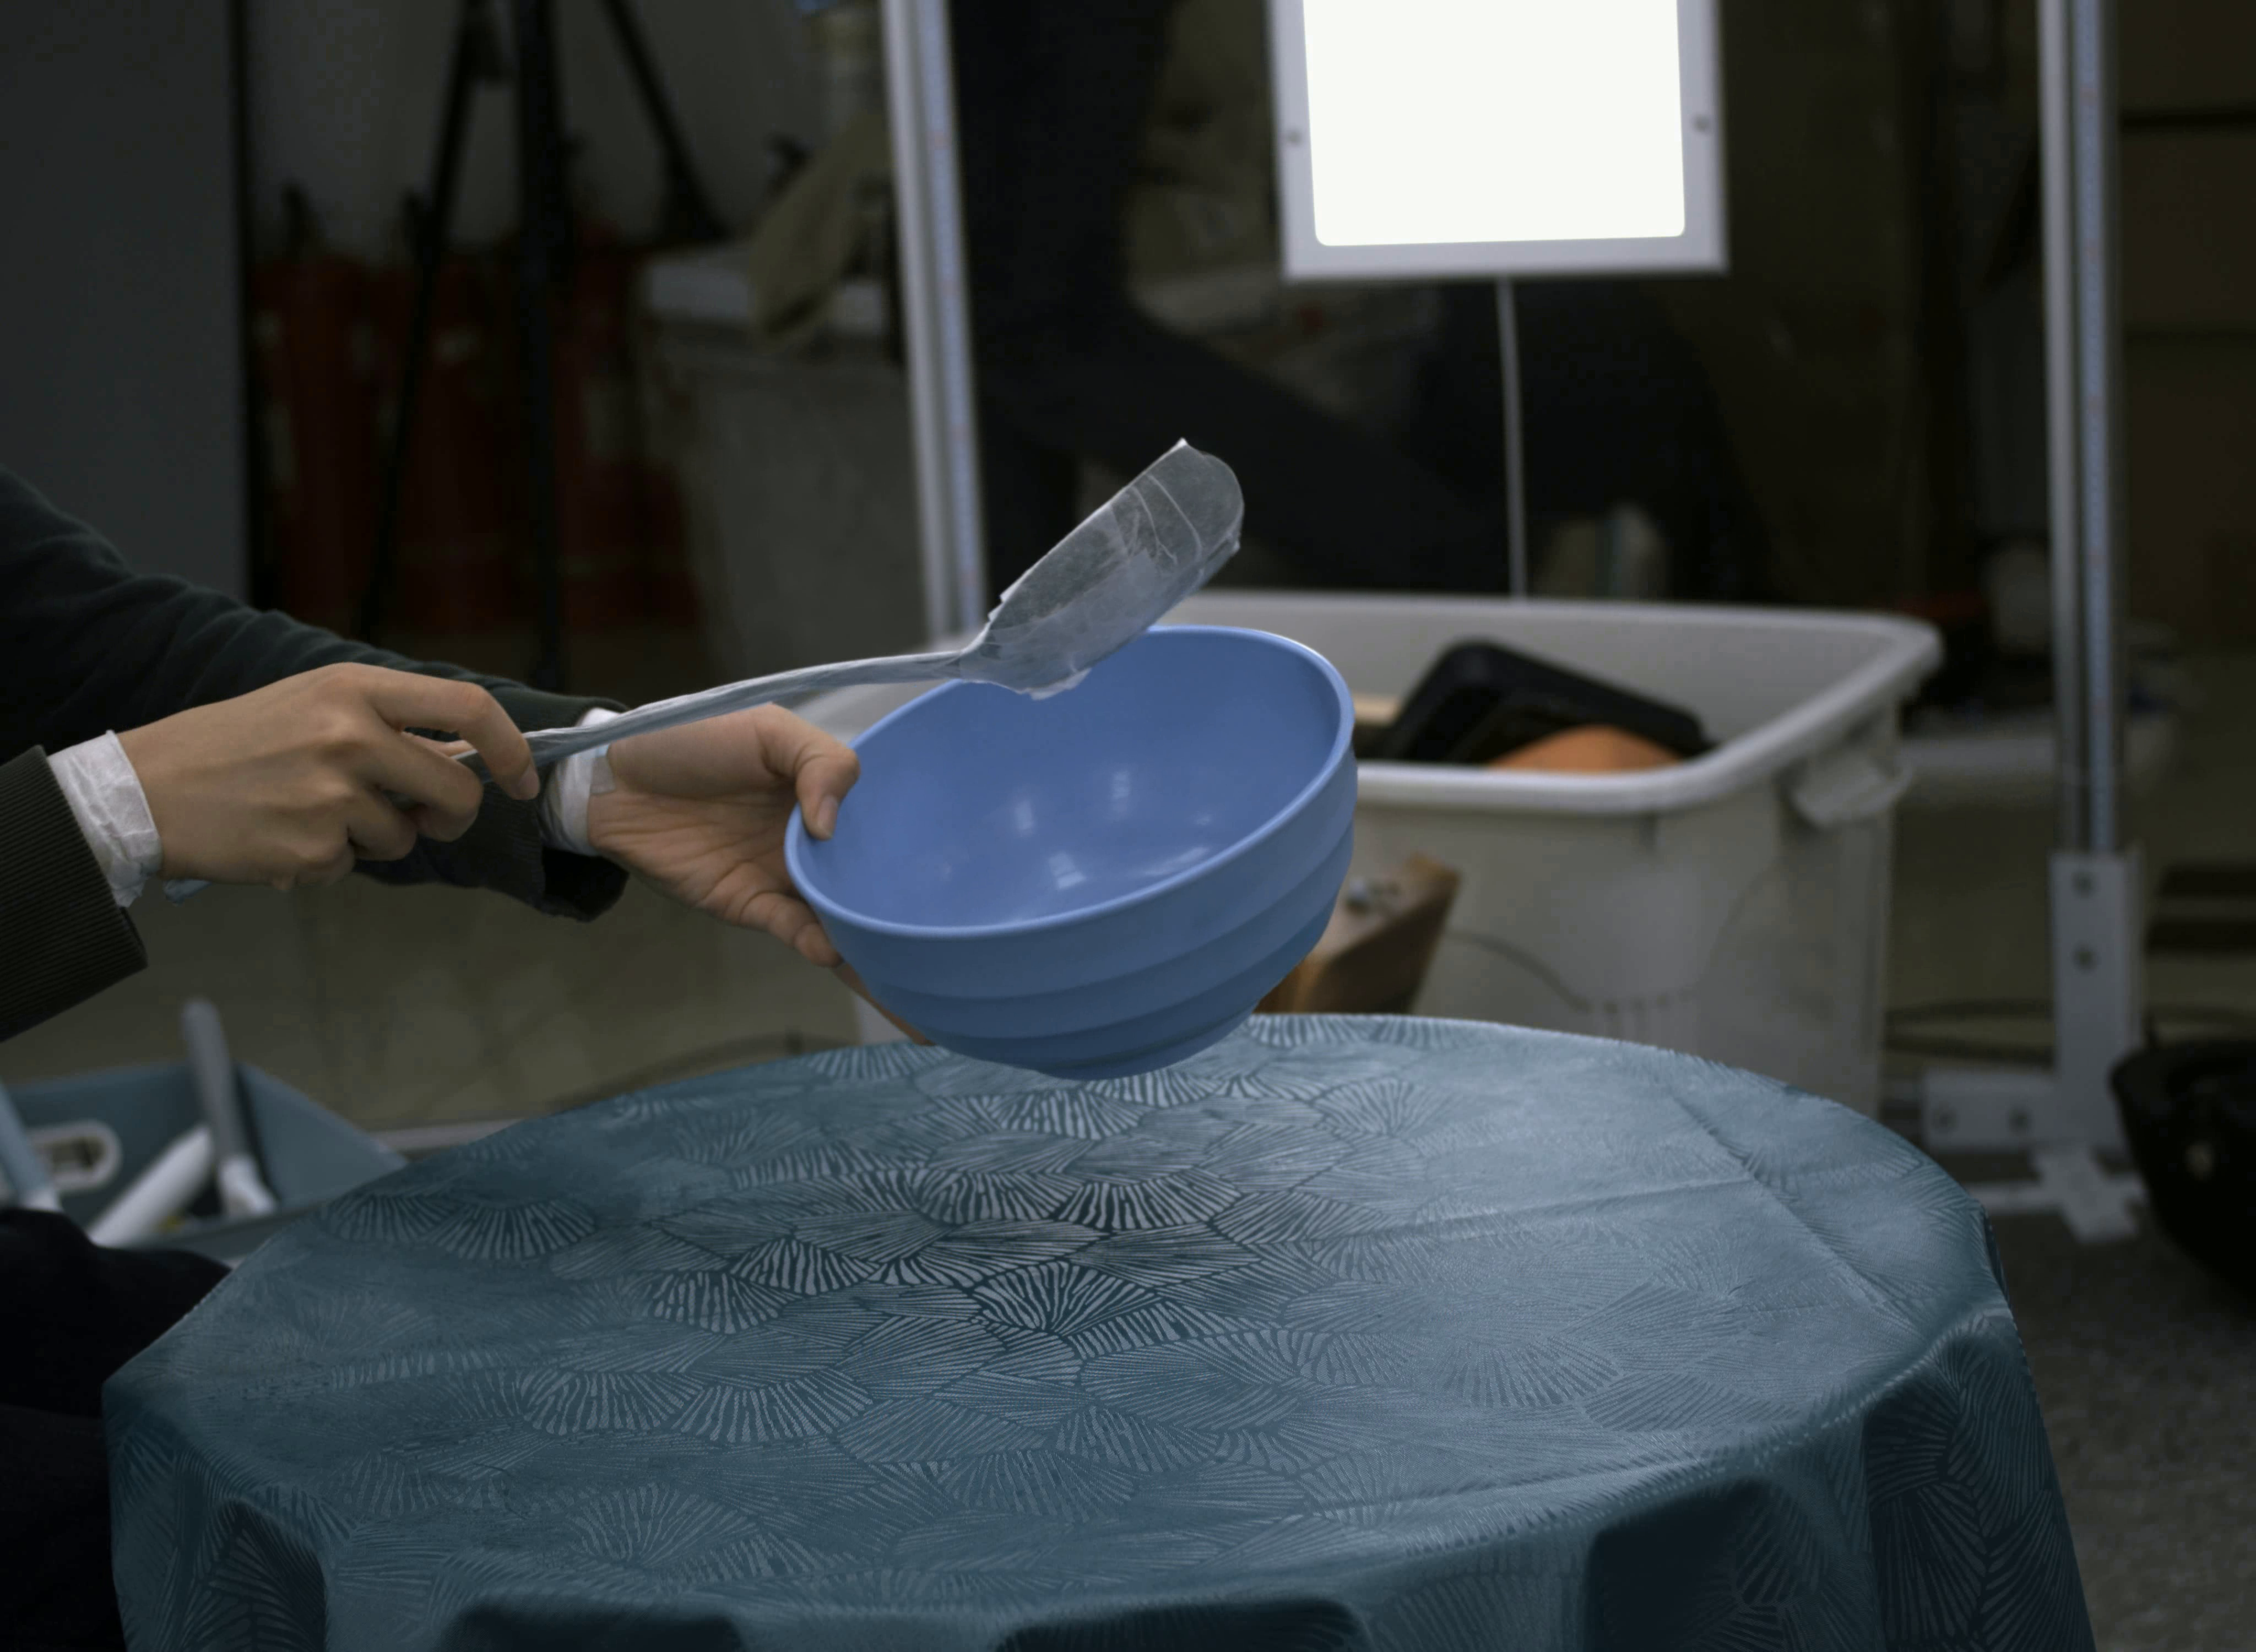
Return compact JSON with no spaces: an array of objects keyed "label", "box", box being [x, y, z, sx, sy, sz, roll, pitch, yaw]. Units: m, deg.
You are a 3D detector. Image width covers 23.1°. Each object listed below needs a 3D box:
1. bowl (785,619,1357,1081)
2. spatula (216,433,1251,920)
[{"label":"bowl","box":[-0.009,0.021,1.845,0.197,0.095,0.196,-14,29,7]},{"label":"spatula","box":[-0.130,-0.043,1.791,0.365,0.045,0.098,-16,-24,3]}]
